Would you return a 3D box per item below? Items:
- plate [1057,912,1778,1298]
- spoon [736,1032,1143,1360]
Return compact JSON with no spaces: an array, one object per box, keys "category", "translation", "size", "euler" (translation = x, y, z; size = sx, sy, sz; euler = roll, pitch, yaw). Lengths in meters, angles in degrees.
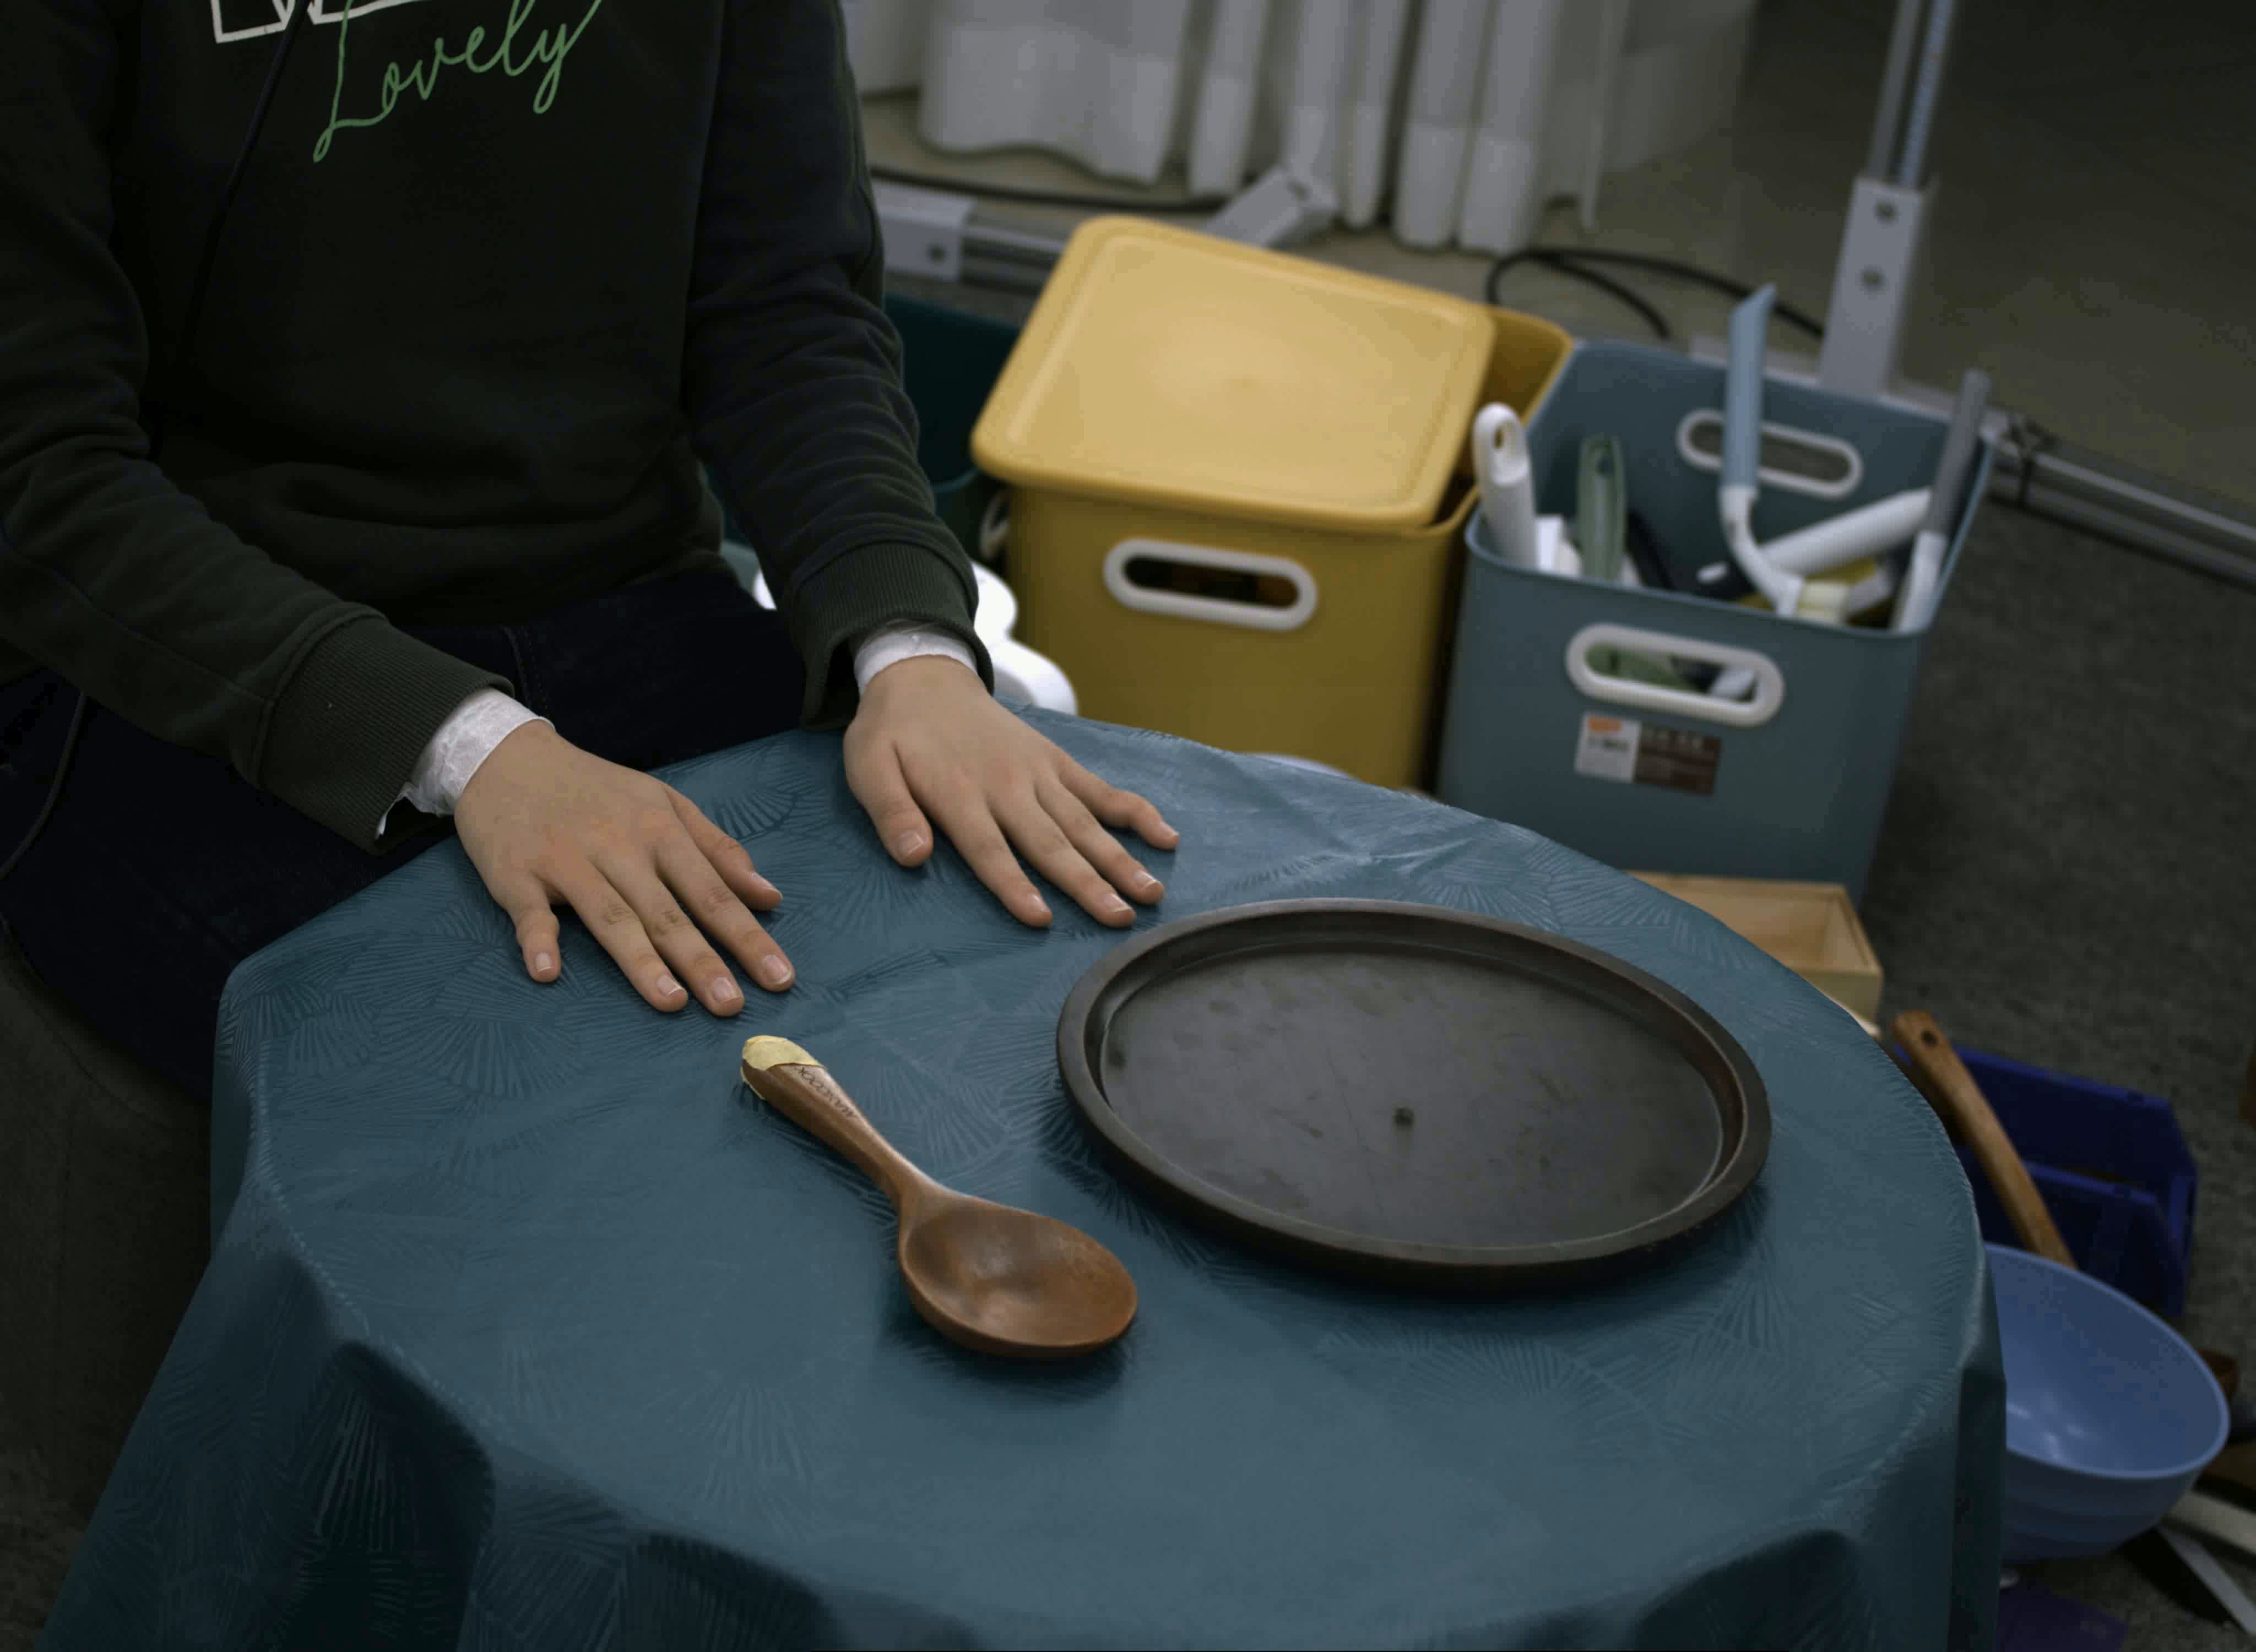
[{"category":"plate","translation":[0.100,0.095,1.856],"size":[0.254,0.029,0.256],"euler":[6,27,-3]},{"category":"spoon","translation":[-0.070,0.123,1.766],"size":[0.075,0.017,0.218],"euler":[-11,32,-31]}]
